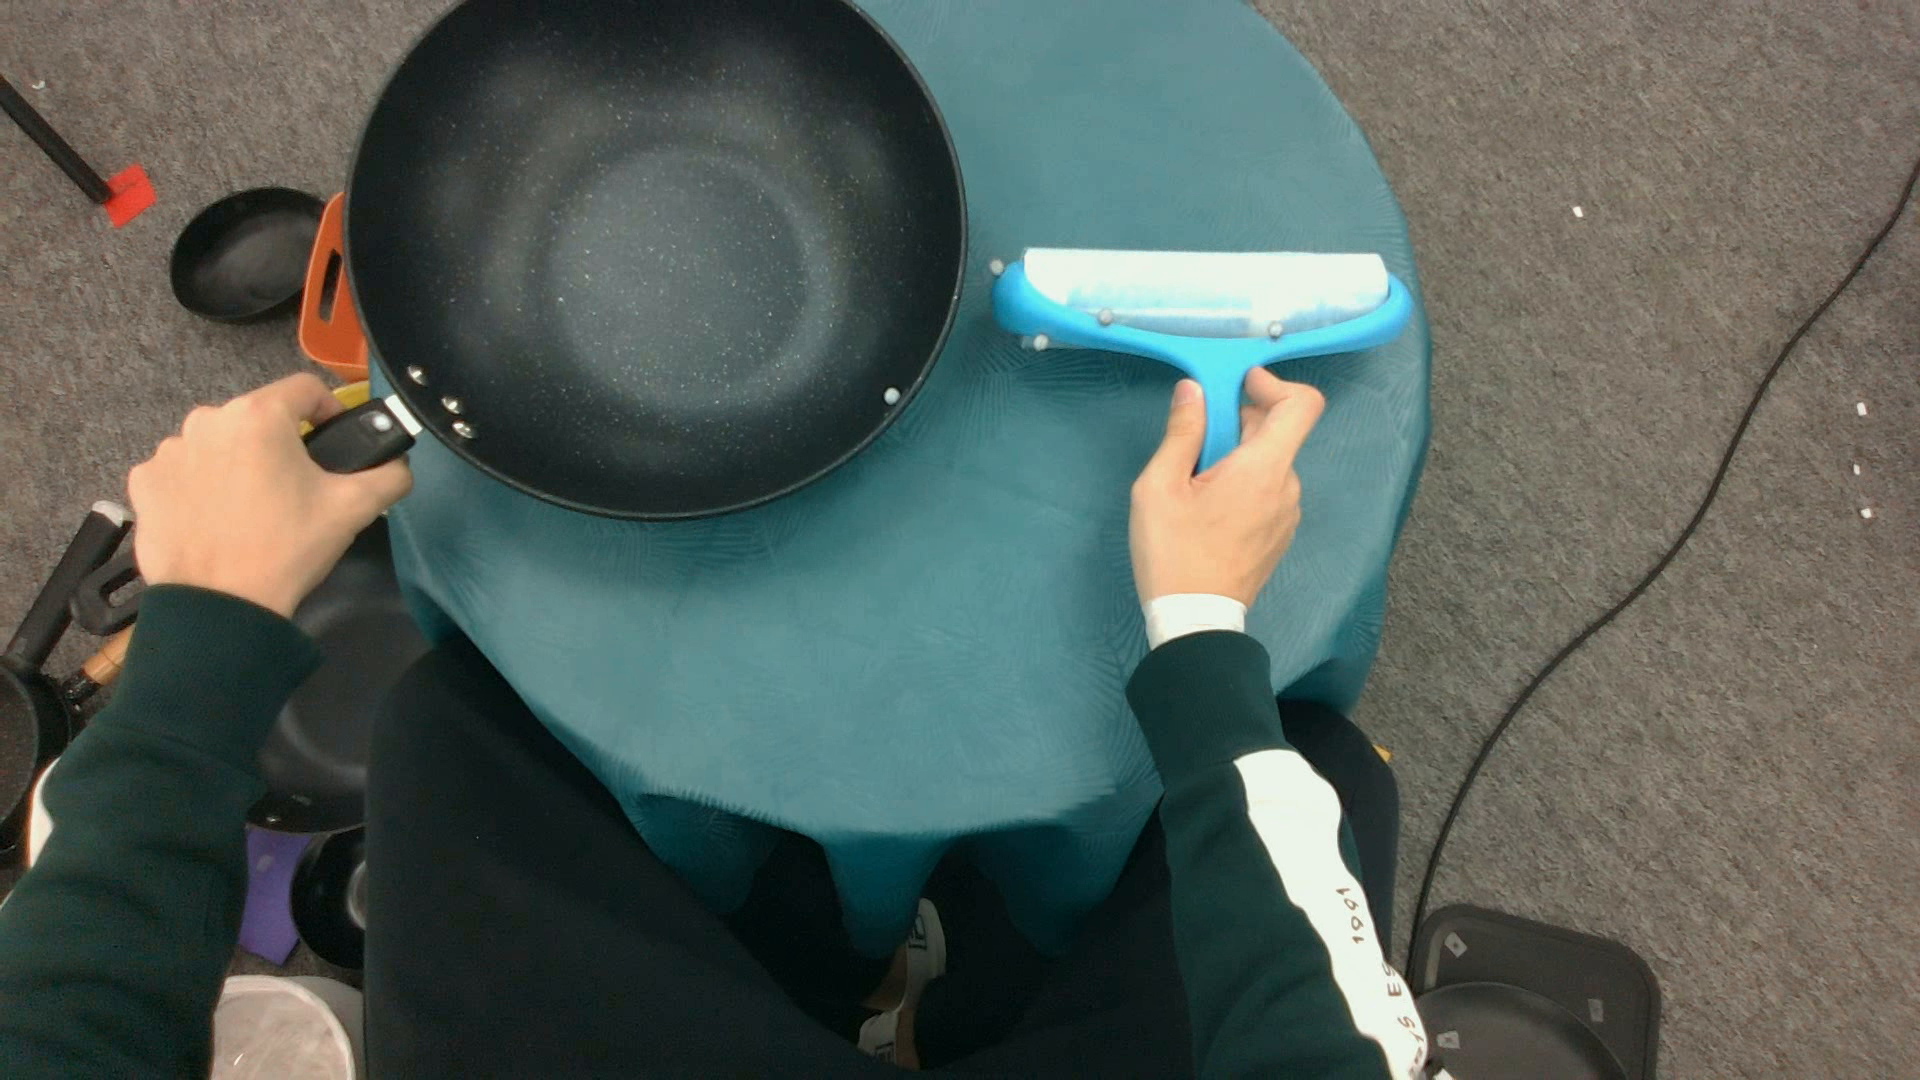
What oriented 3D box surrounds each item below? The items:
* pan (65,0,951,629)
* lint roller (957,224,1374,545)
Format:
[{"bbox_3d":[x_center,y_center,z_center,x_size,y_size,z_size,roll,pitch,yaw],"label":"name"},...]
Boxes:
[{"bbox_3d":[-0.222,-0.112,0.708,0.478,0.111,0.310,-42,84,-11],"label":"pan"},{"bbox_3d":[0.119,-0.091,0.731,0.229,0.067,0.181,-4,64,-6],"label":"lint roller"}]
